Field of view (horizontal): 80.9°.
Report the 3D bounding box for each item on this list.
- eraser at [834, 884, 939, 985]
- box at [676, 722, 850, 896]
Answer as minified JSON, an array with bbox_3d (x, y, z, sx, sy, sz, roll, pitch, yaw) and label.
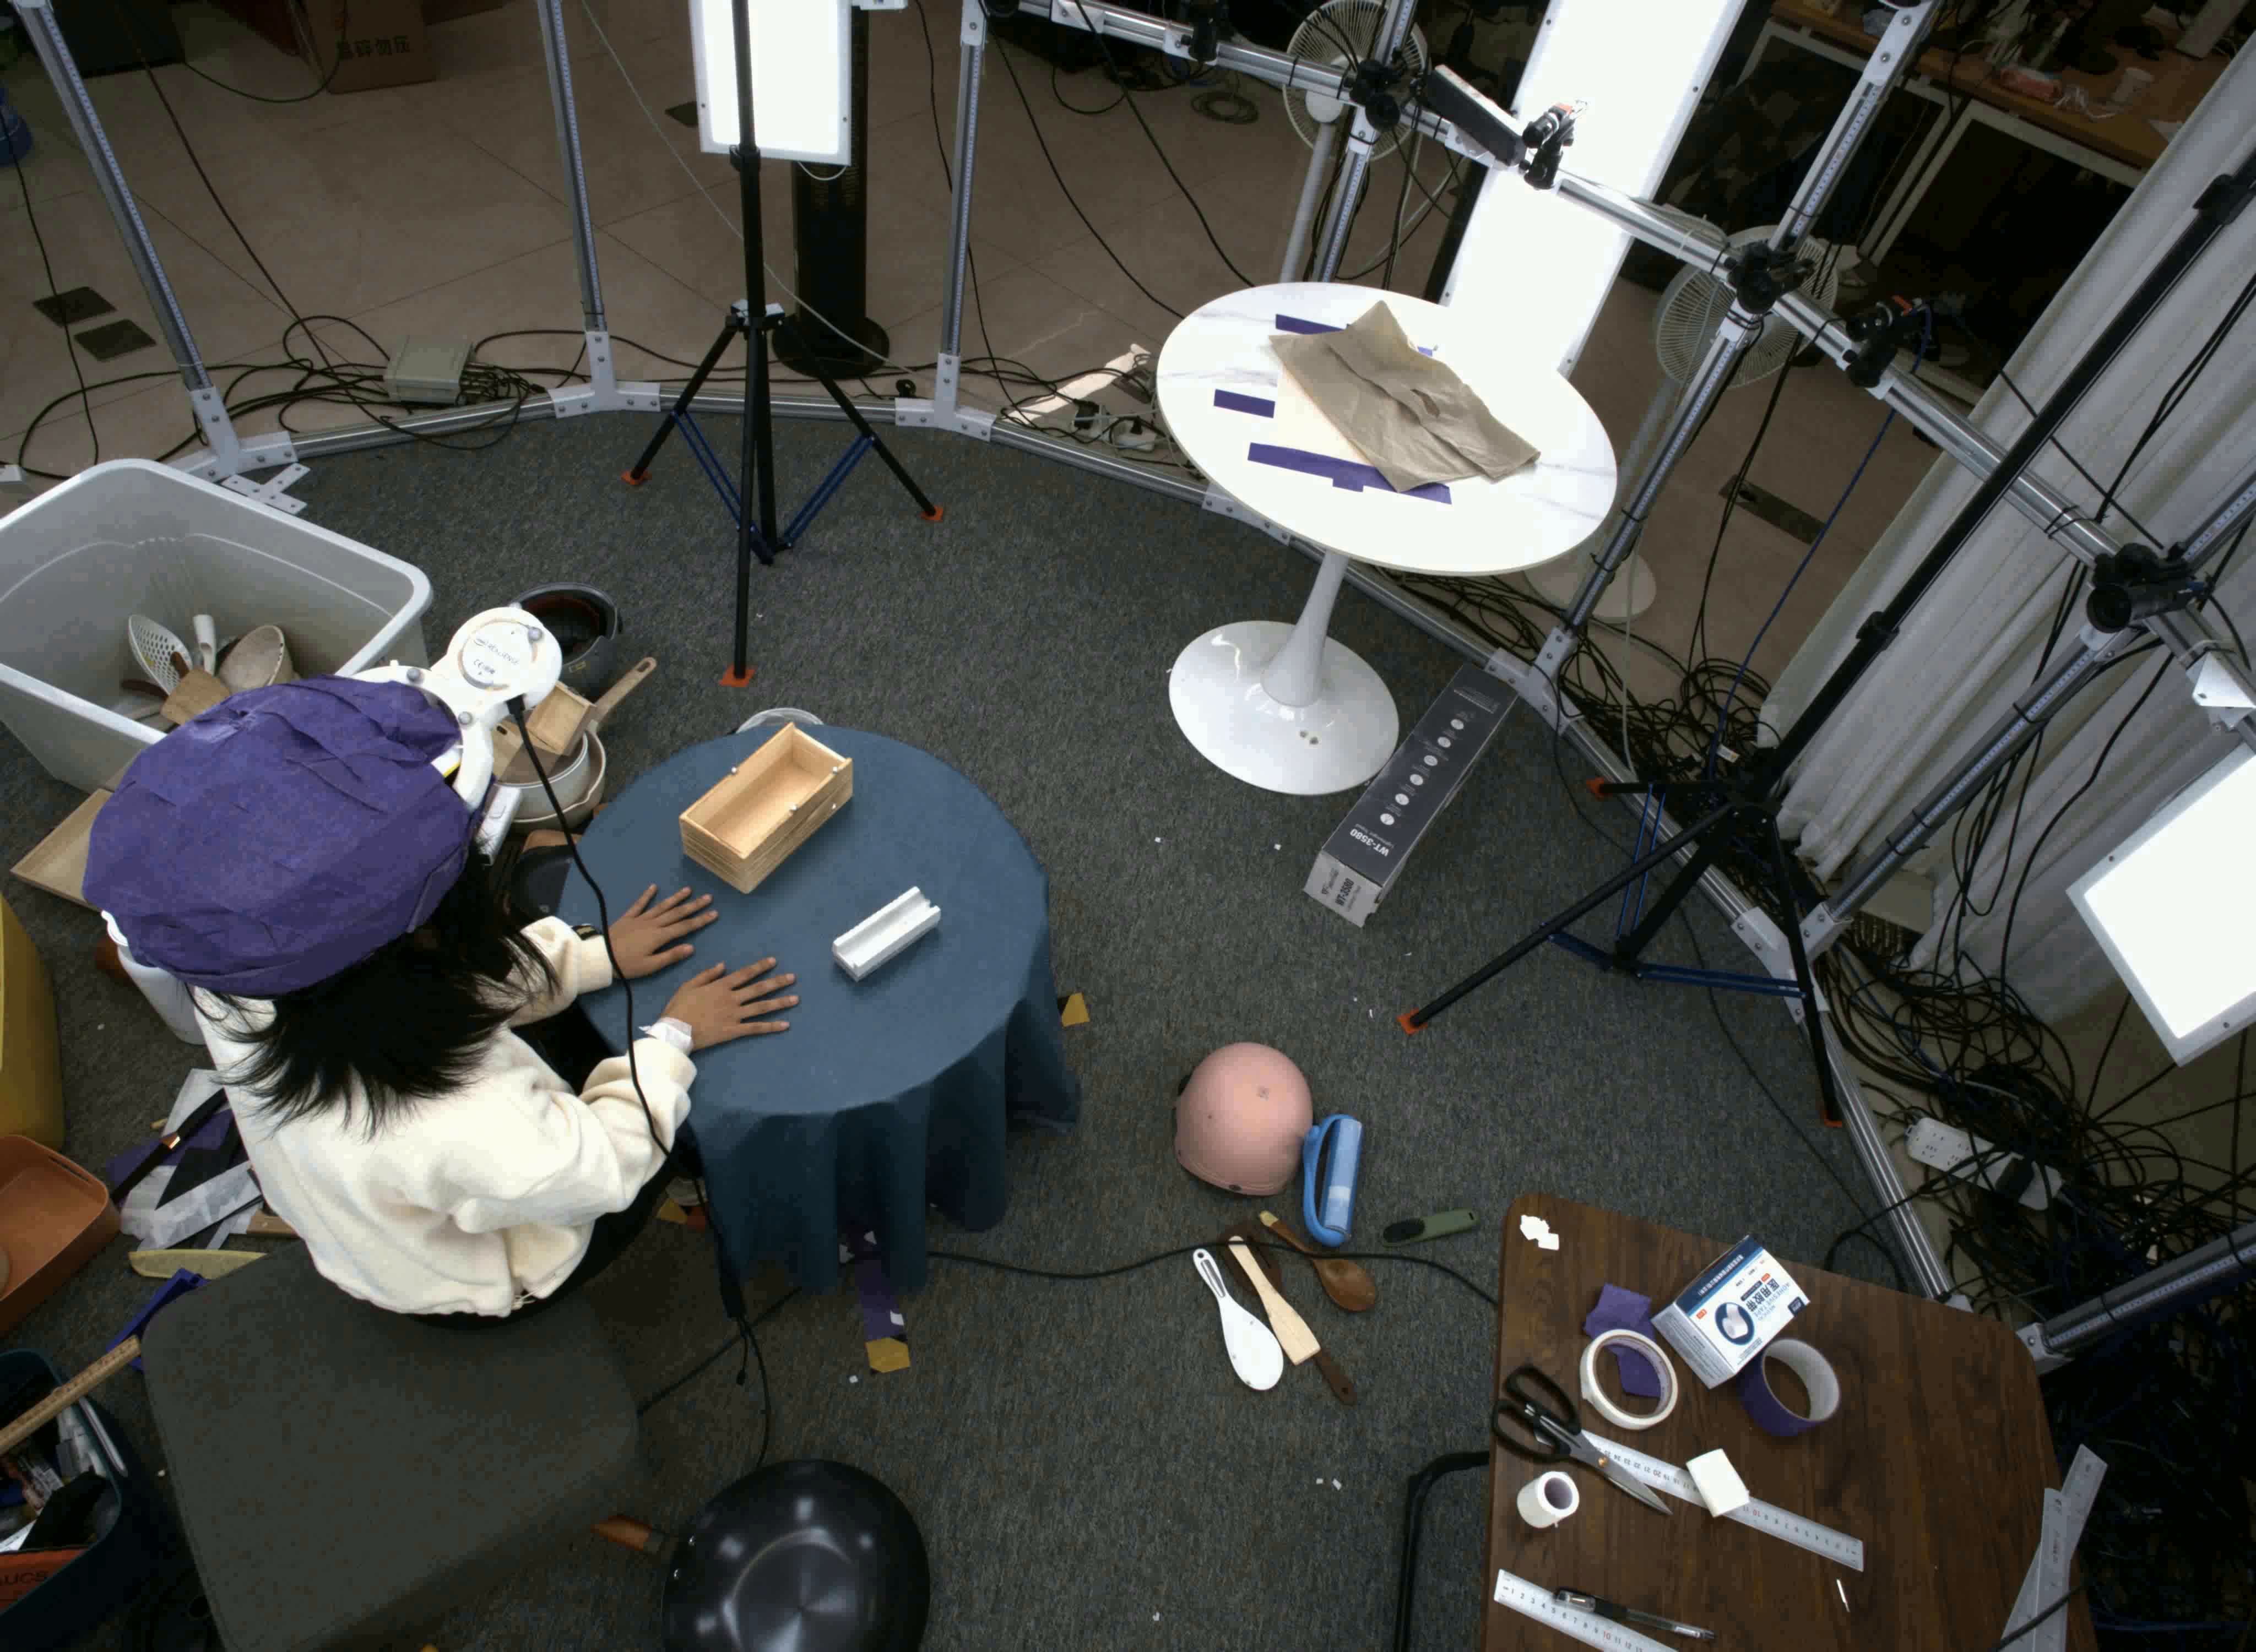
[{"bbox_3d":[-0.300,0.133,1.621,0.049,0.047,0.134,39,53,15],"label":"eraser"},{"bbox_3d":[-0.469,-0.026,1.676,0.105,0.082,0.211,30,52,11],"label":"box"}]
